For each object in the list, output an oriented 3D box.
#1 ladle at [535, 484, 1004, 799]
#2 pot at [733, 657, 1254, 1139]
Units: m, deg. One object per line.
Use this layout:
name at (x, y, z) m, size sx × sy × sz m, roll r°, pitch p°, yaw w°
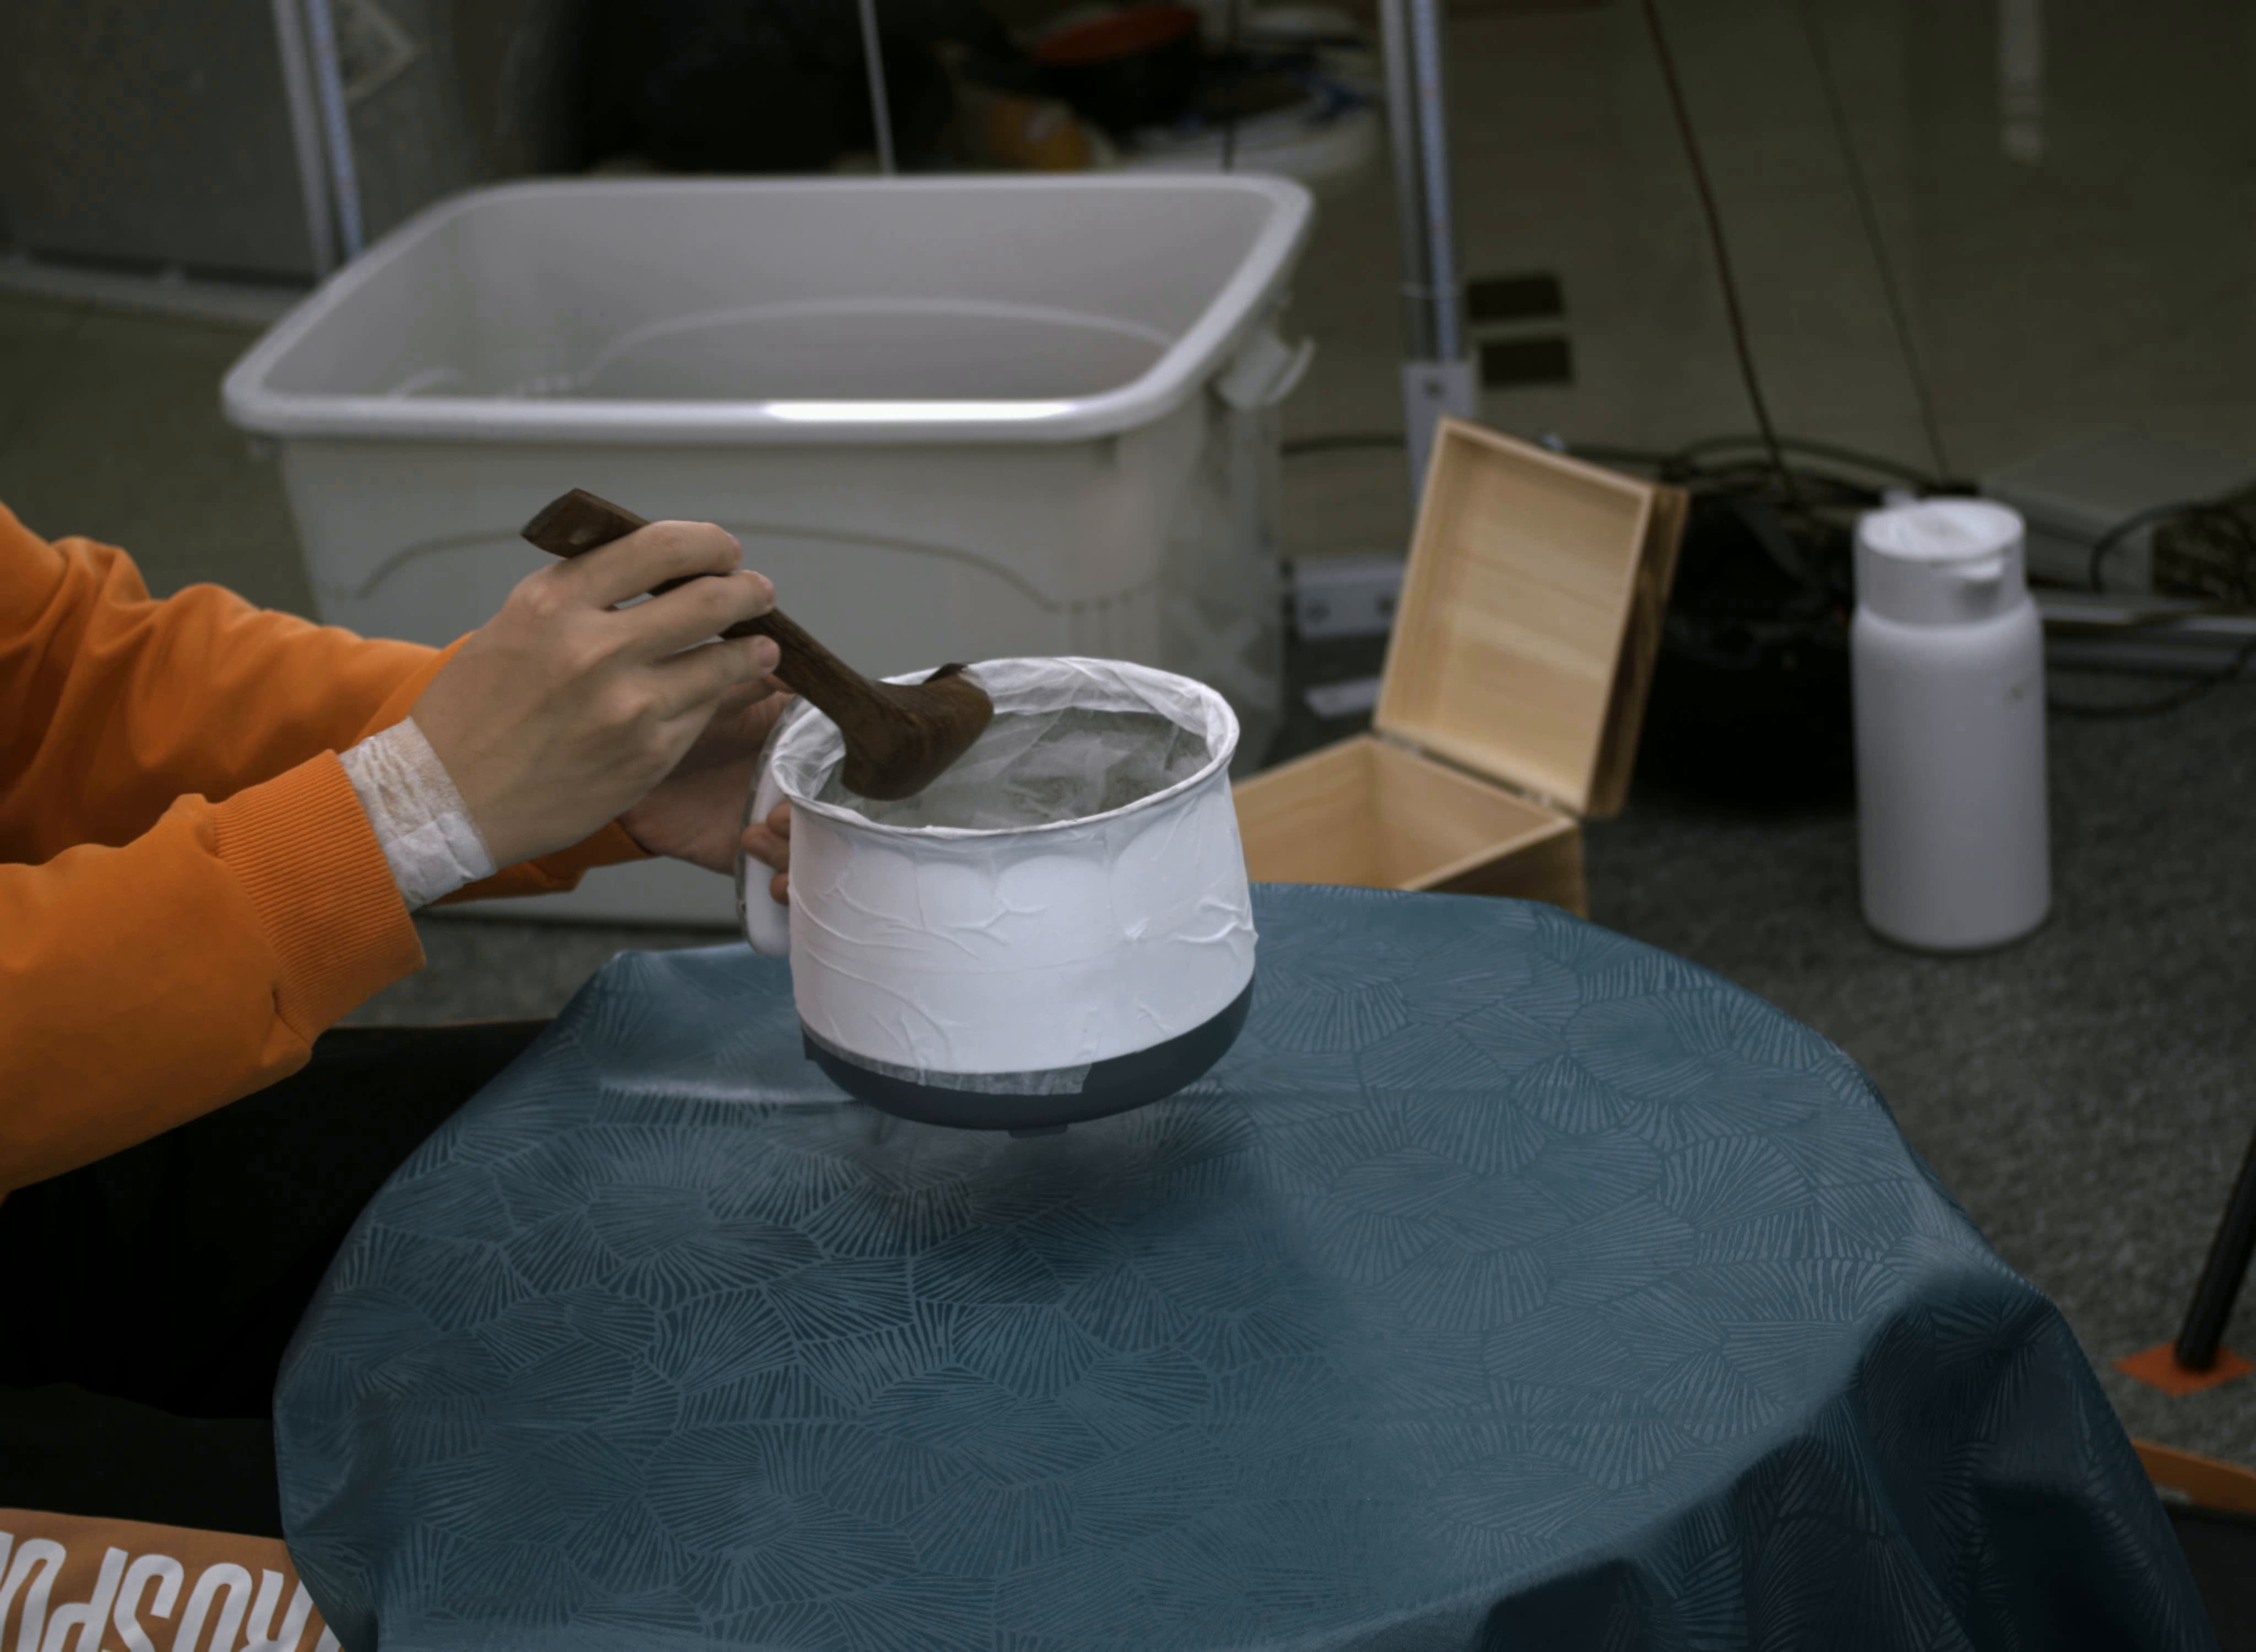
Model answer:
ladle at (-0.136, -0.080, 2.057) m, size 0.076 × 0.277 × 0.070 m, roll -43°, pitch 51°, yaw 11°
pot at (-0.063, 0.022, 2.162) m, size 0.232 × 0.138 × 0.177 m, roll 15°, pitch 29°, yaw 38°
